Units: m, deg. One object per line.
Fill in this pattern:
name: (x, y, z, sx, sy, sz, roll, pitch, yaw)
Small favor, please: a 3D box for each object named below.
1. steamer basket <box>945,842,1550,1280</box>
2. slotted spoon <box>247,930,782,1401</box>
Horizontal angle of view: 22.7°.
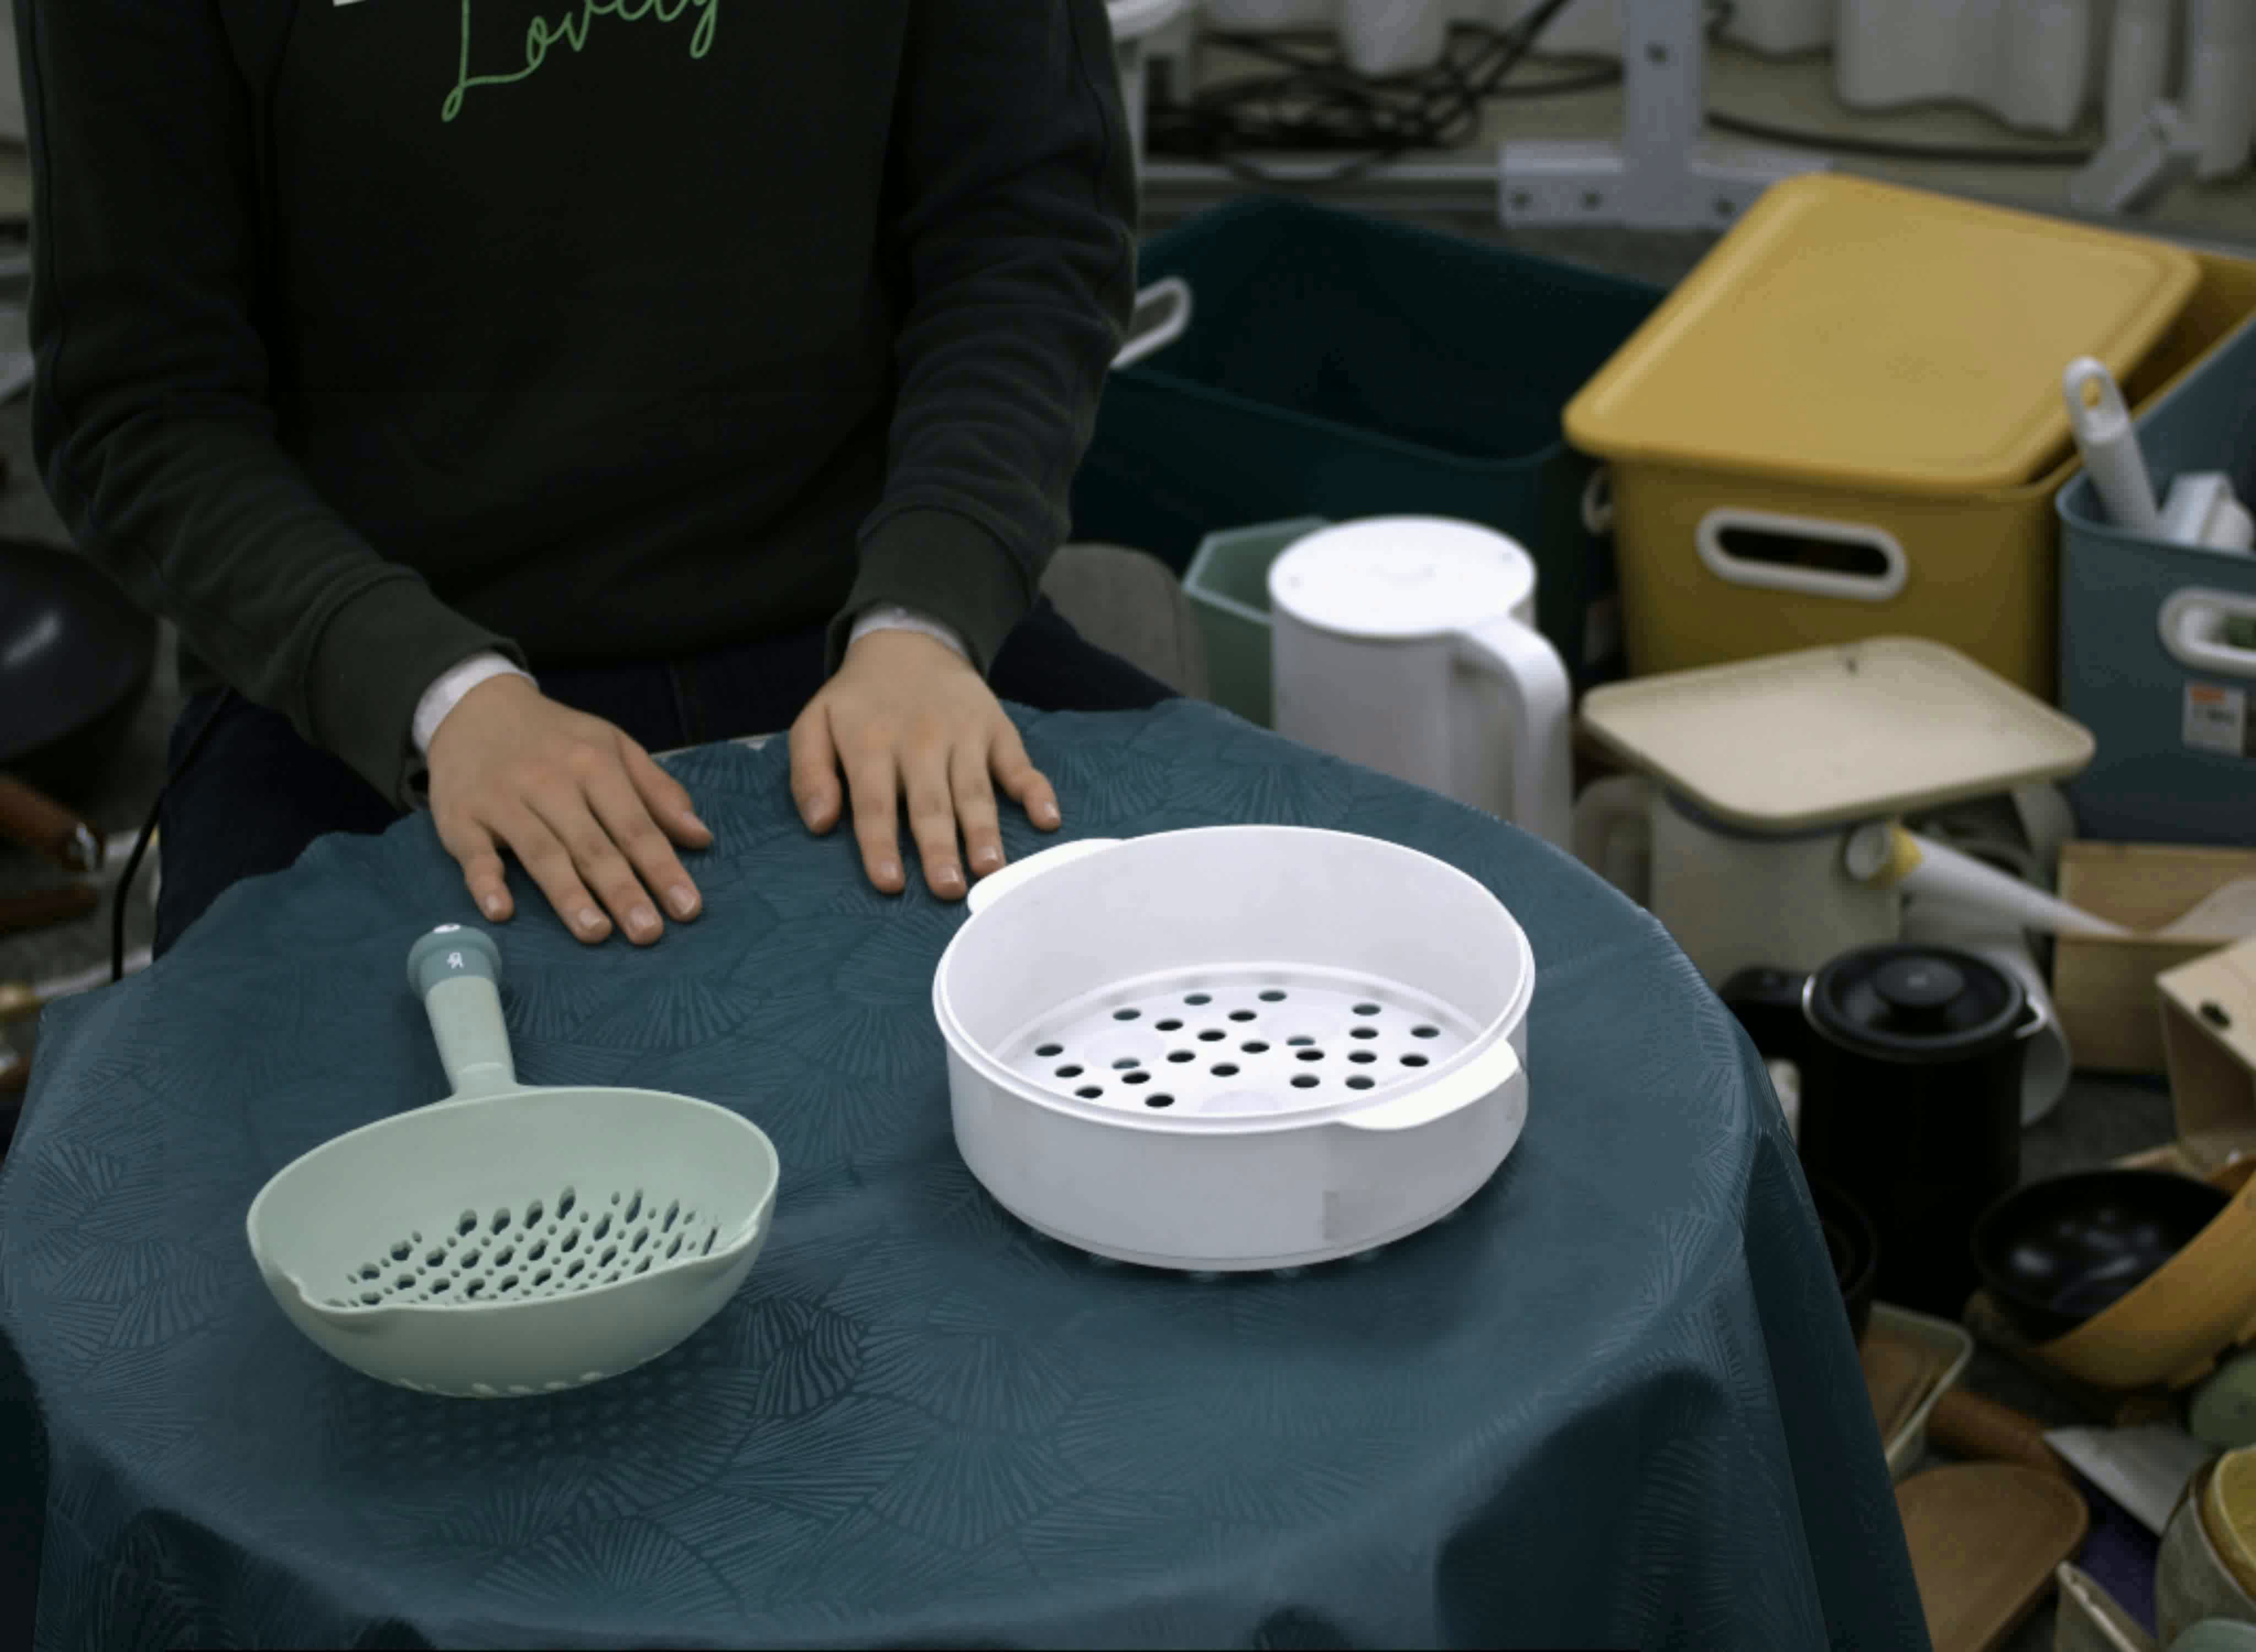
steamer basket: (0.040, 0.078, 1.872, 0.204, 0.068, 0.230, -22, 33, -35)
slotted spoon: (-0.210, 0.097, 1.861, 0.169, 0.074, 0.363, -7, 27, -9)
